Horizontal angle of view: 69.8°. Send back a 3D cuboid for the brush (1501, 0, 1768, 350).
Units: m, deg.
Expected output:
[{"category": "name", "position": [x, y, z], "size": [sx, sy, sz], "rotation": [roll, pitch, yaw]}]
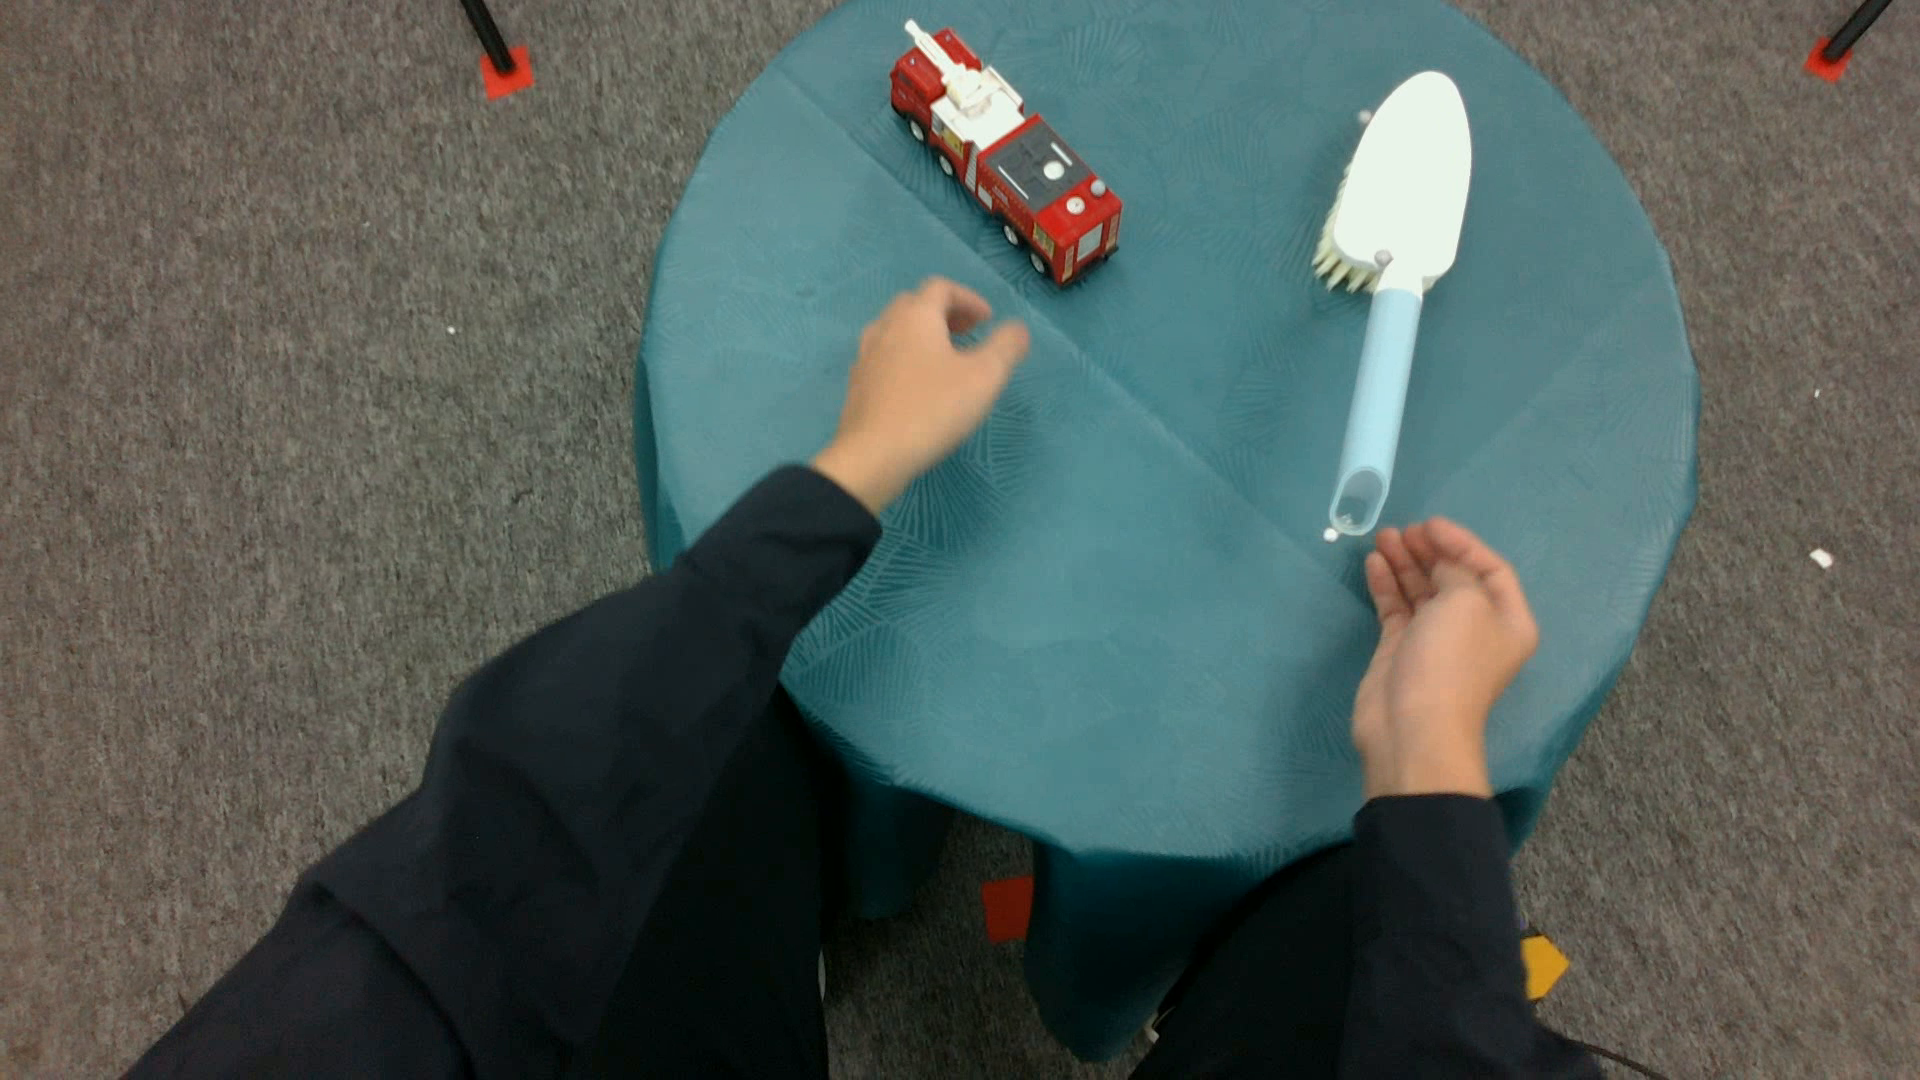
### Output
[{"category": "brush", "position": [0.325, -0.214, 0.684], "size": [0.083, 0.084, 0.326], "rotation": [20, 70, 37]}]
